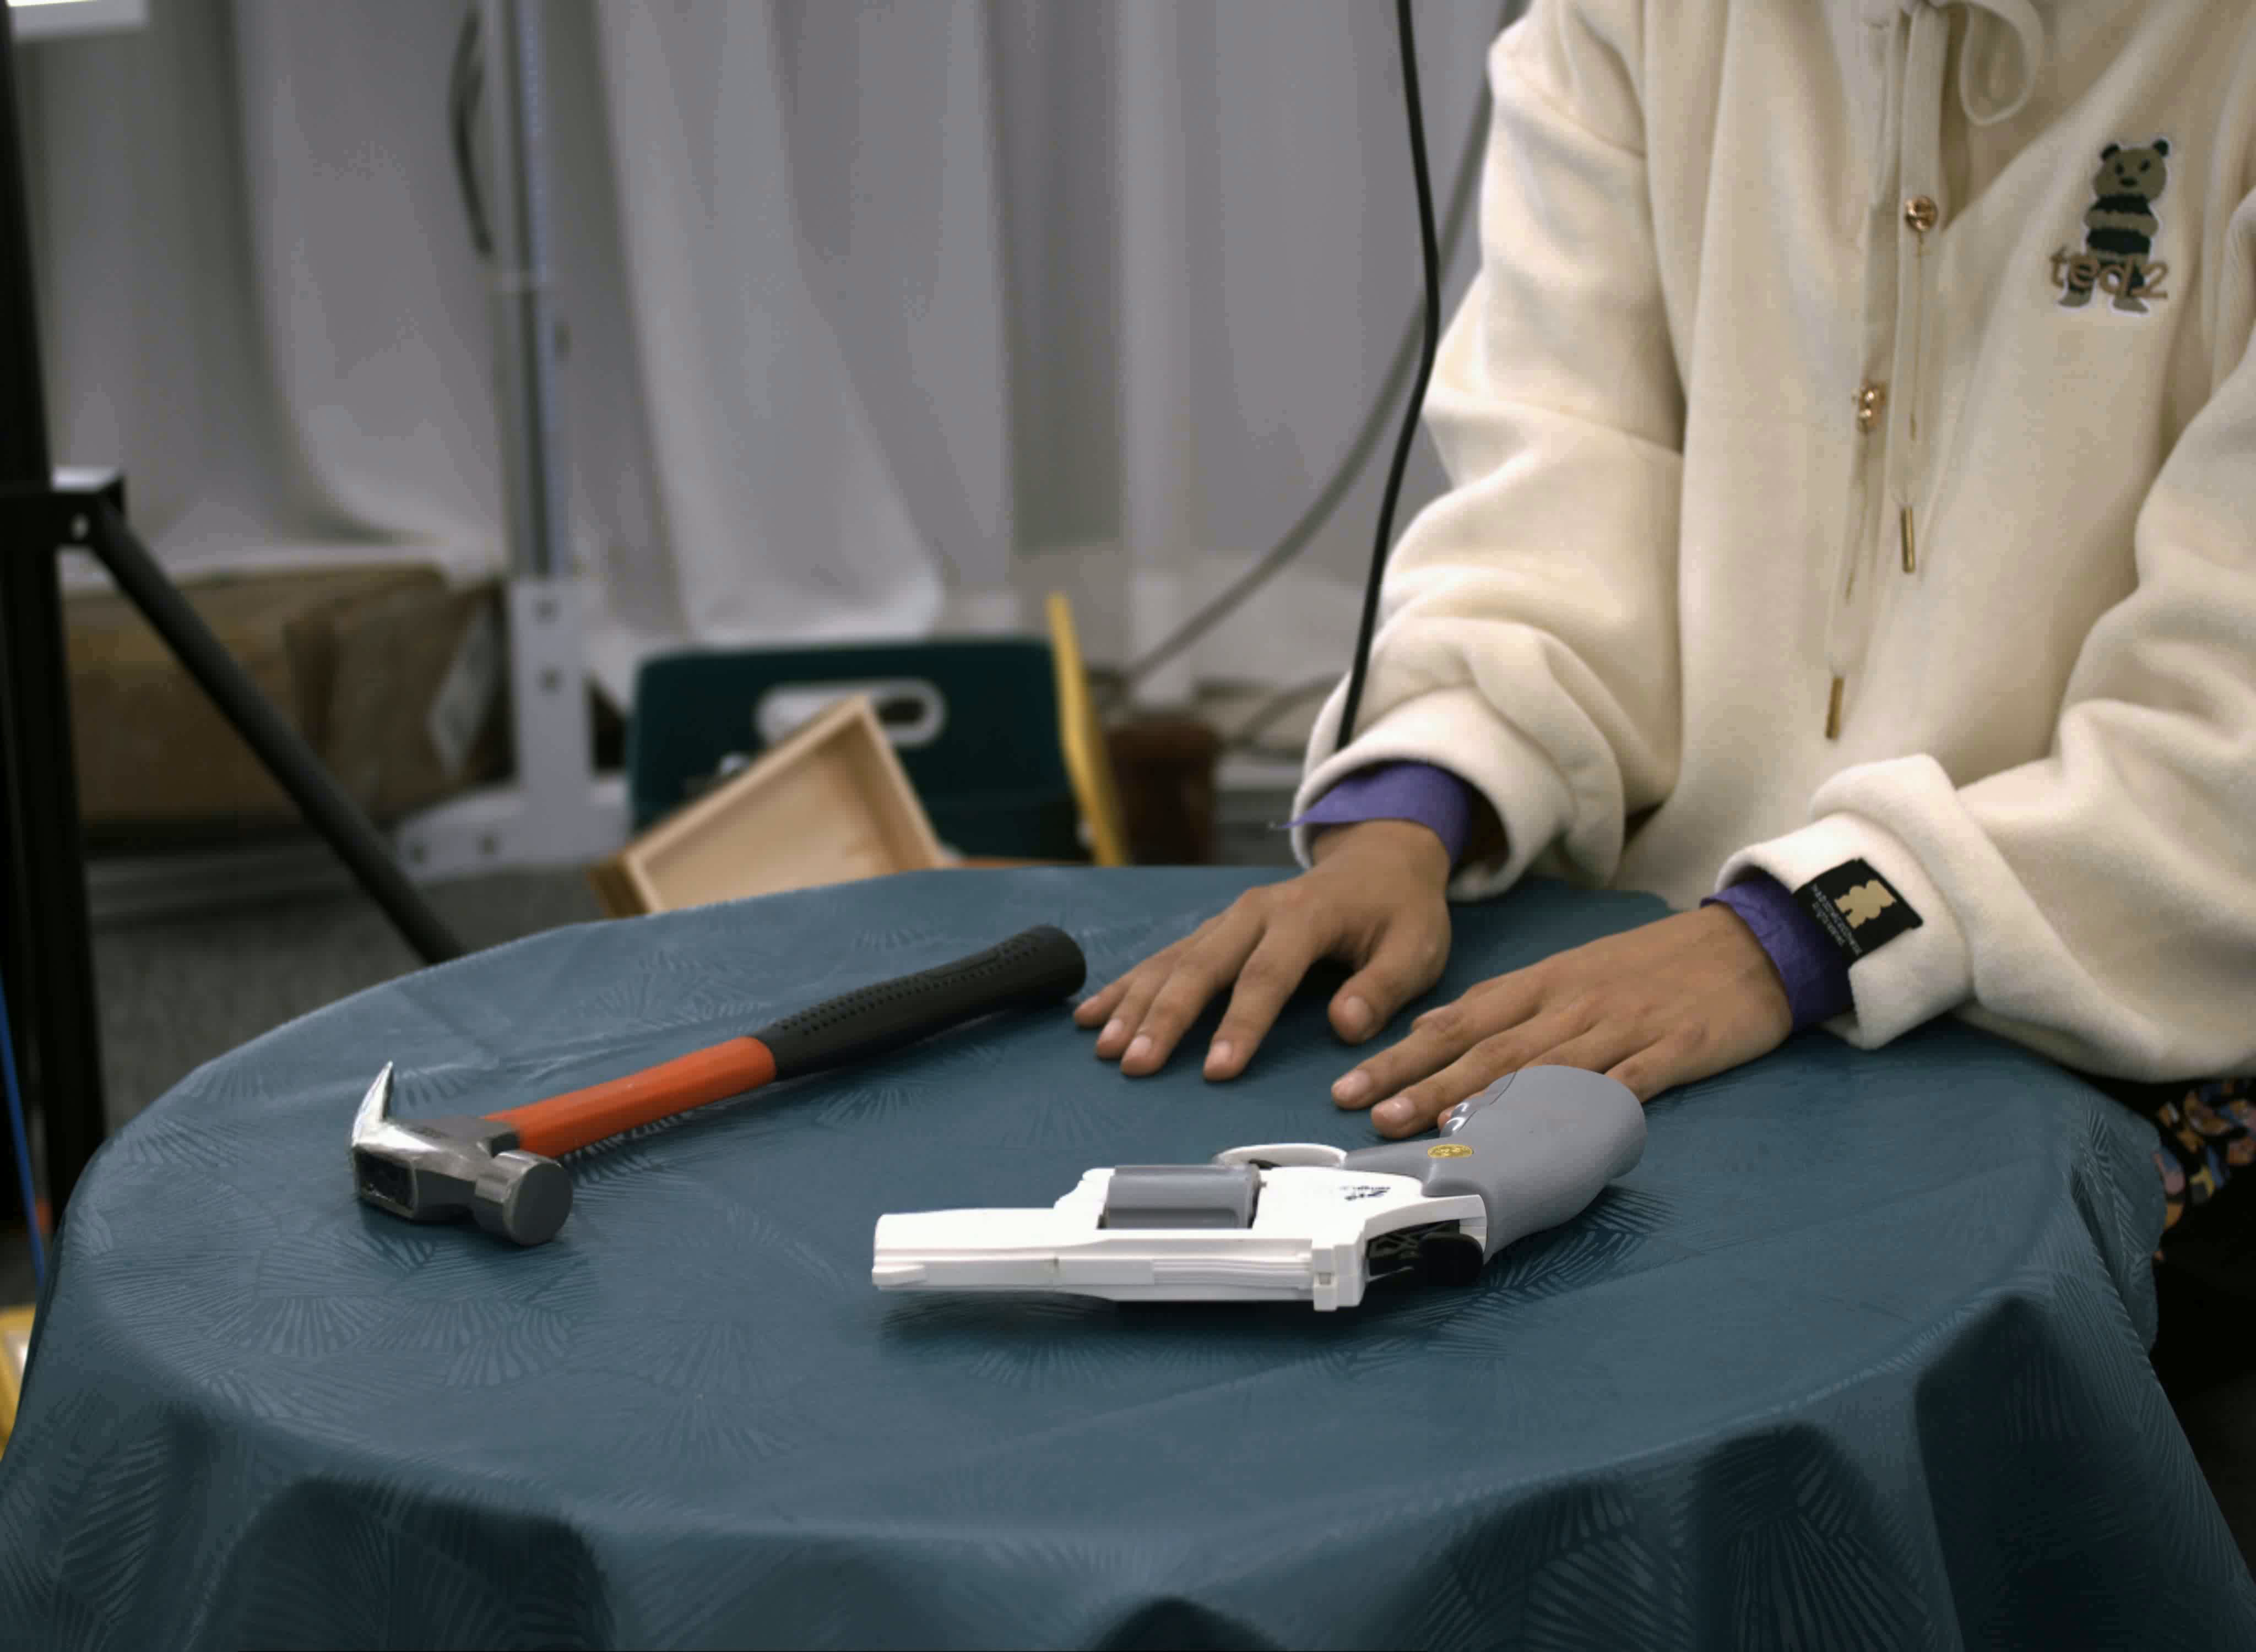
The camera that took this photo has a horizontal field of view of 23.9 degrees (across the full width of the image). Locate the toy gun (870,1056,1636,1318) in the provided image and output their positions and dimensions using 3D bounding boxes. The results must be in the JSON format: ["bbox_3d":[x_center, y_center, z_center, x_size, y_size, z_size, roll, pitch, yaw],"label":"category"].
[{"bbox_3d":[0.038,0.103,1.495,0.209,0.039,0.141,-1,17,8],"label":"toy gun"}]

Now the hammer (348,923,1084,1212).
[{"bbox_3d":[-0.121,0.072,1.655,0.271,0.026,0.113,-16,12,-41],"label":"hammer"}]
